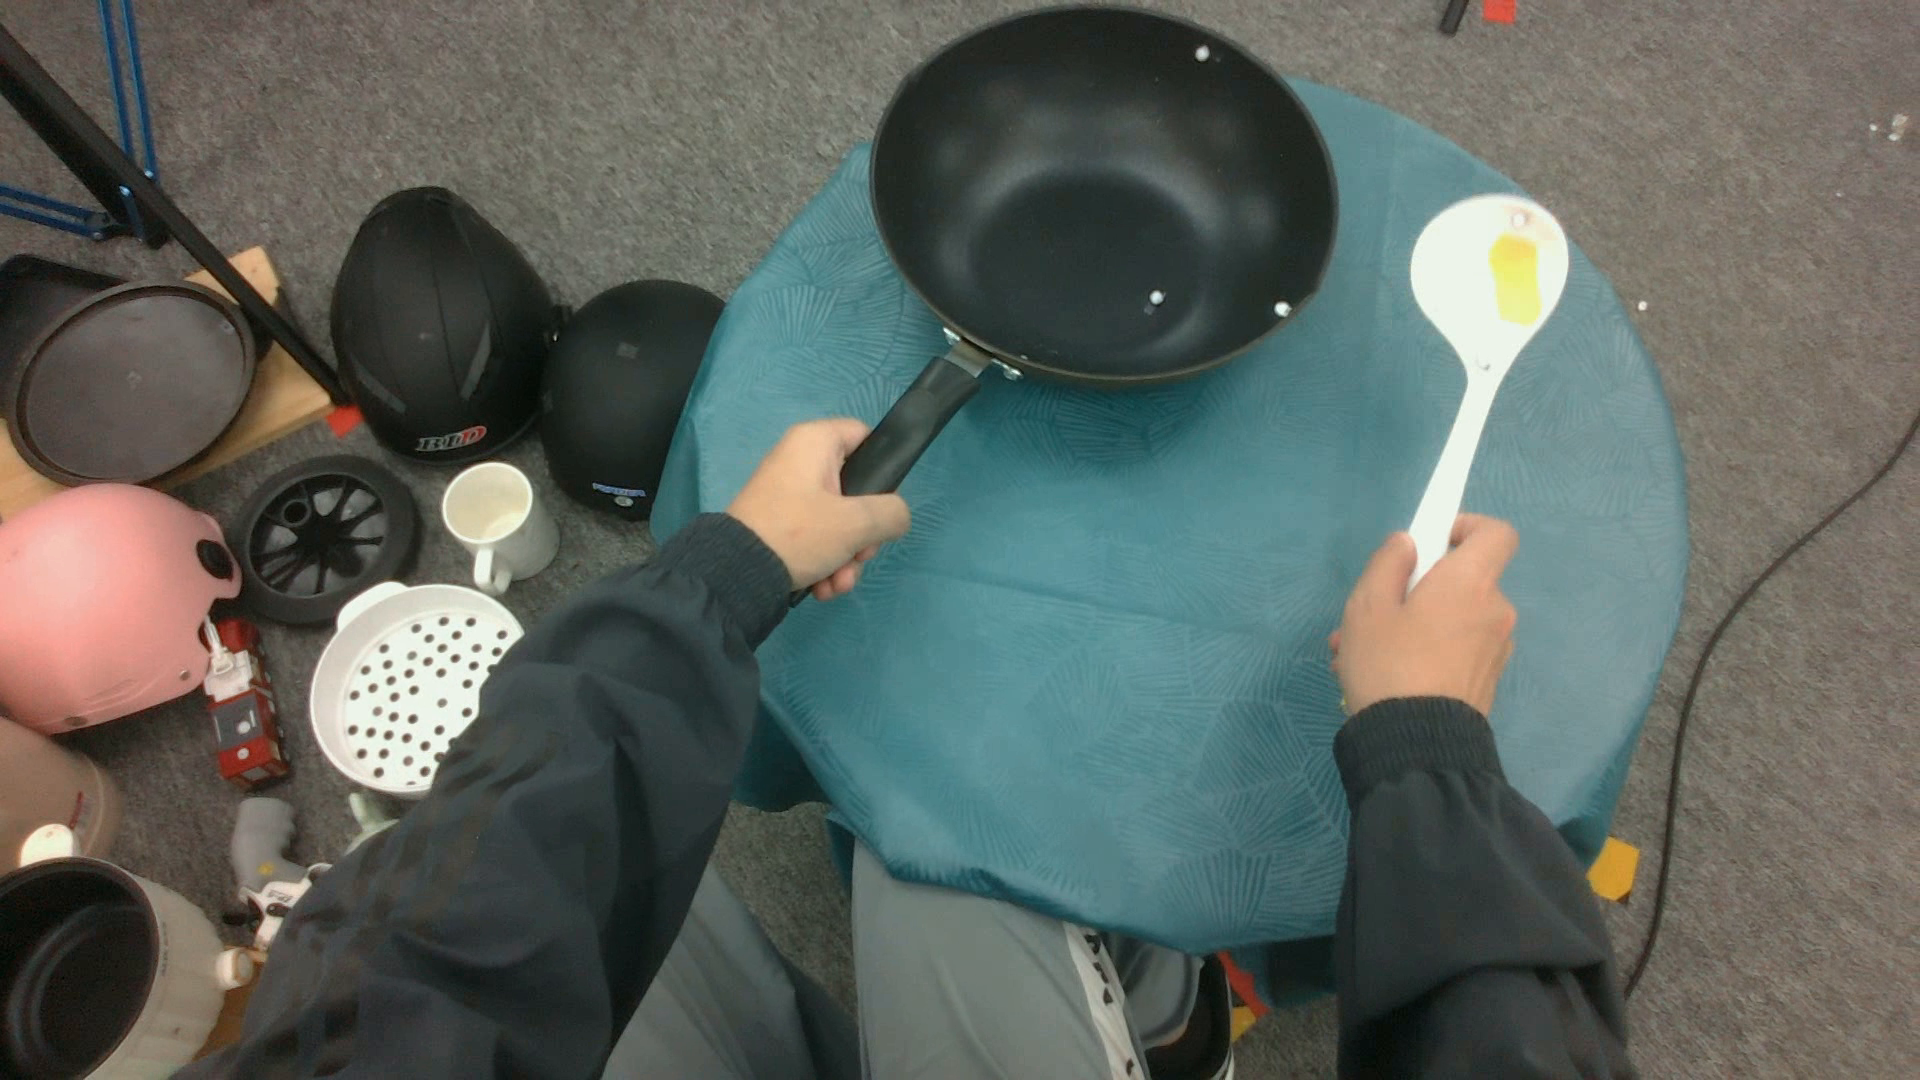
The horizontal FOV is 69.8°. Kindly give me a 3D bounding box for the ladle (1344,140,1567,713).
[{"bbox_3d":[0.245,-0.059,0.713,0.090,0.070,0.293,10,79,48],"label":"ladle"}]

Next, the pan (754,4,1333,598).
[{"bbox_3d":[0.034,-0.133,0.833,0.288,0.086,0.465,31,69,12],"label":"pan"}]
